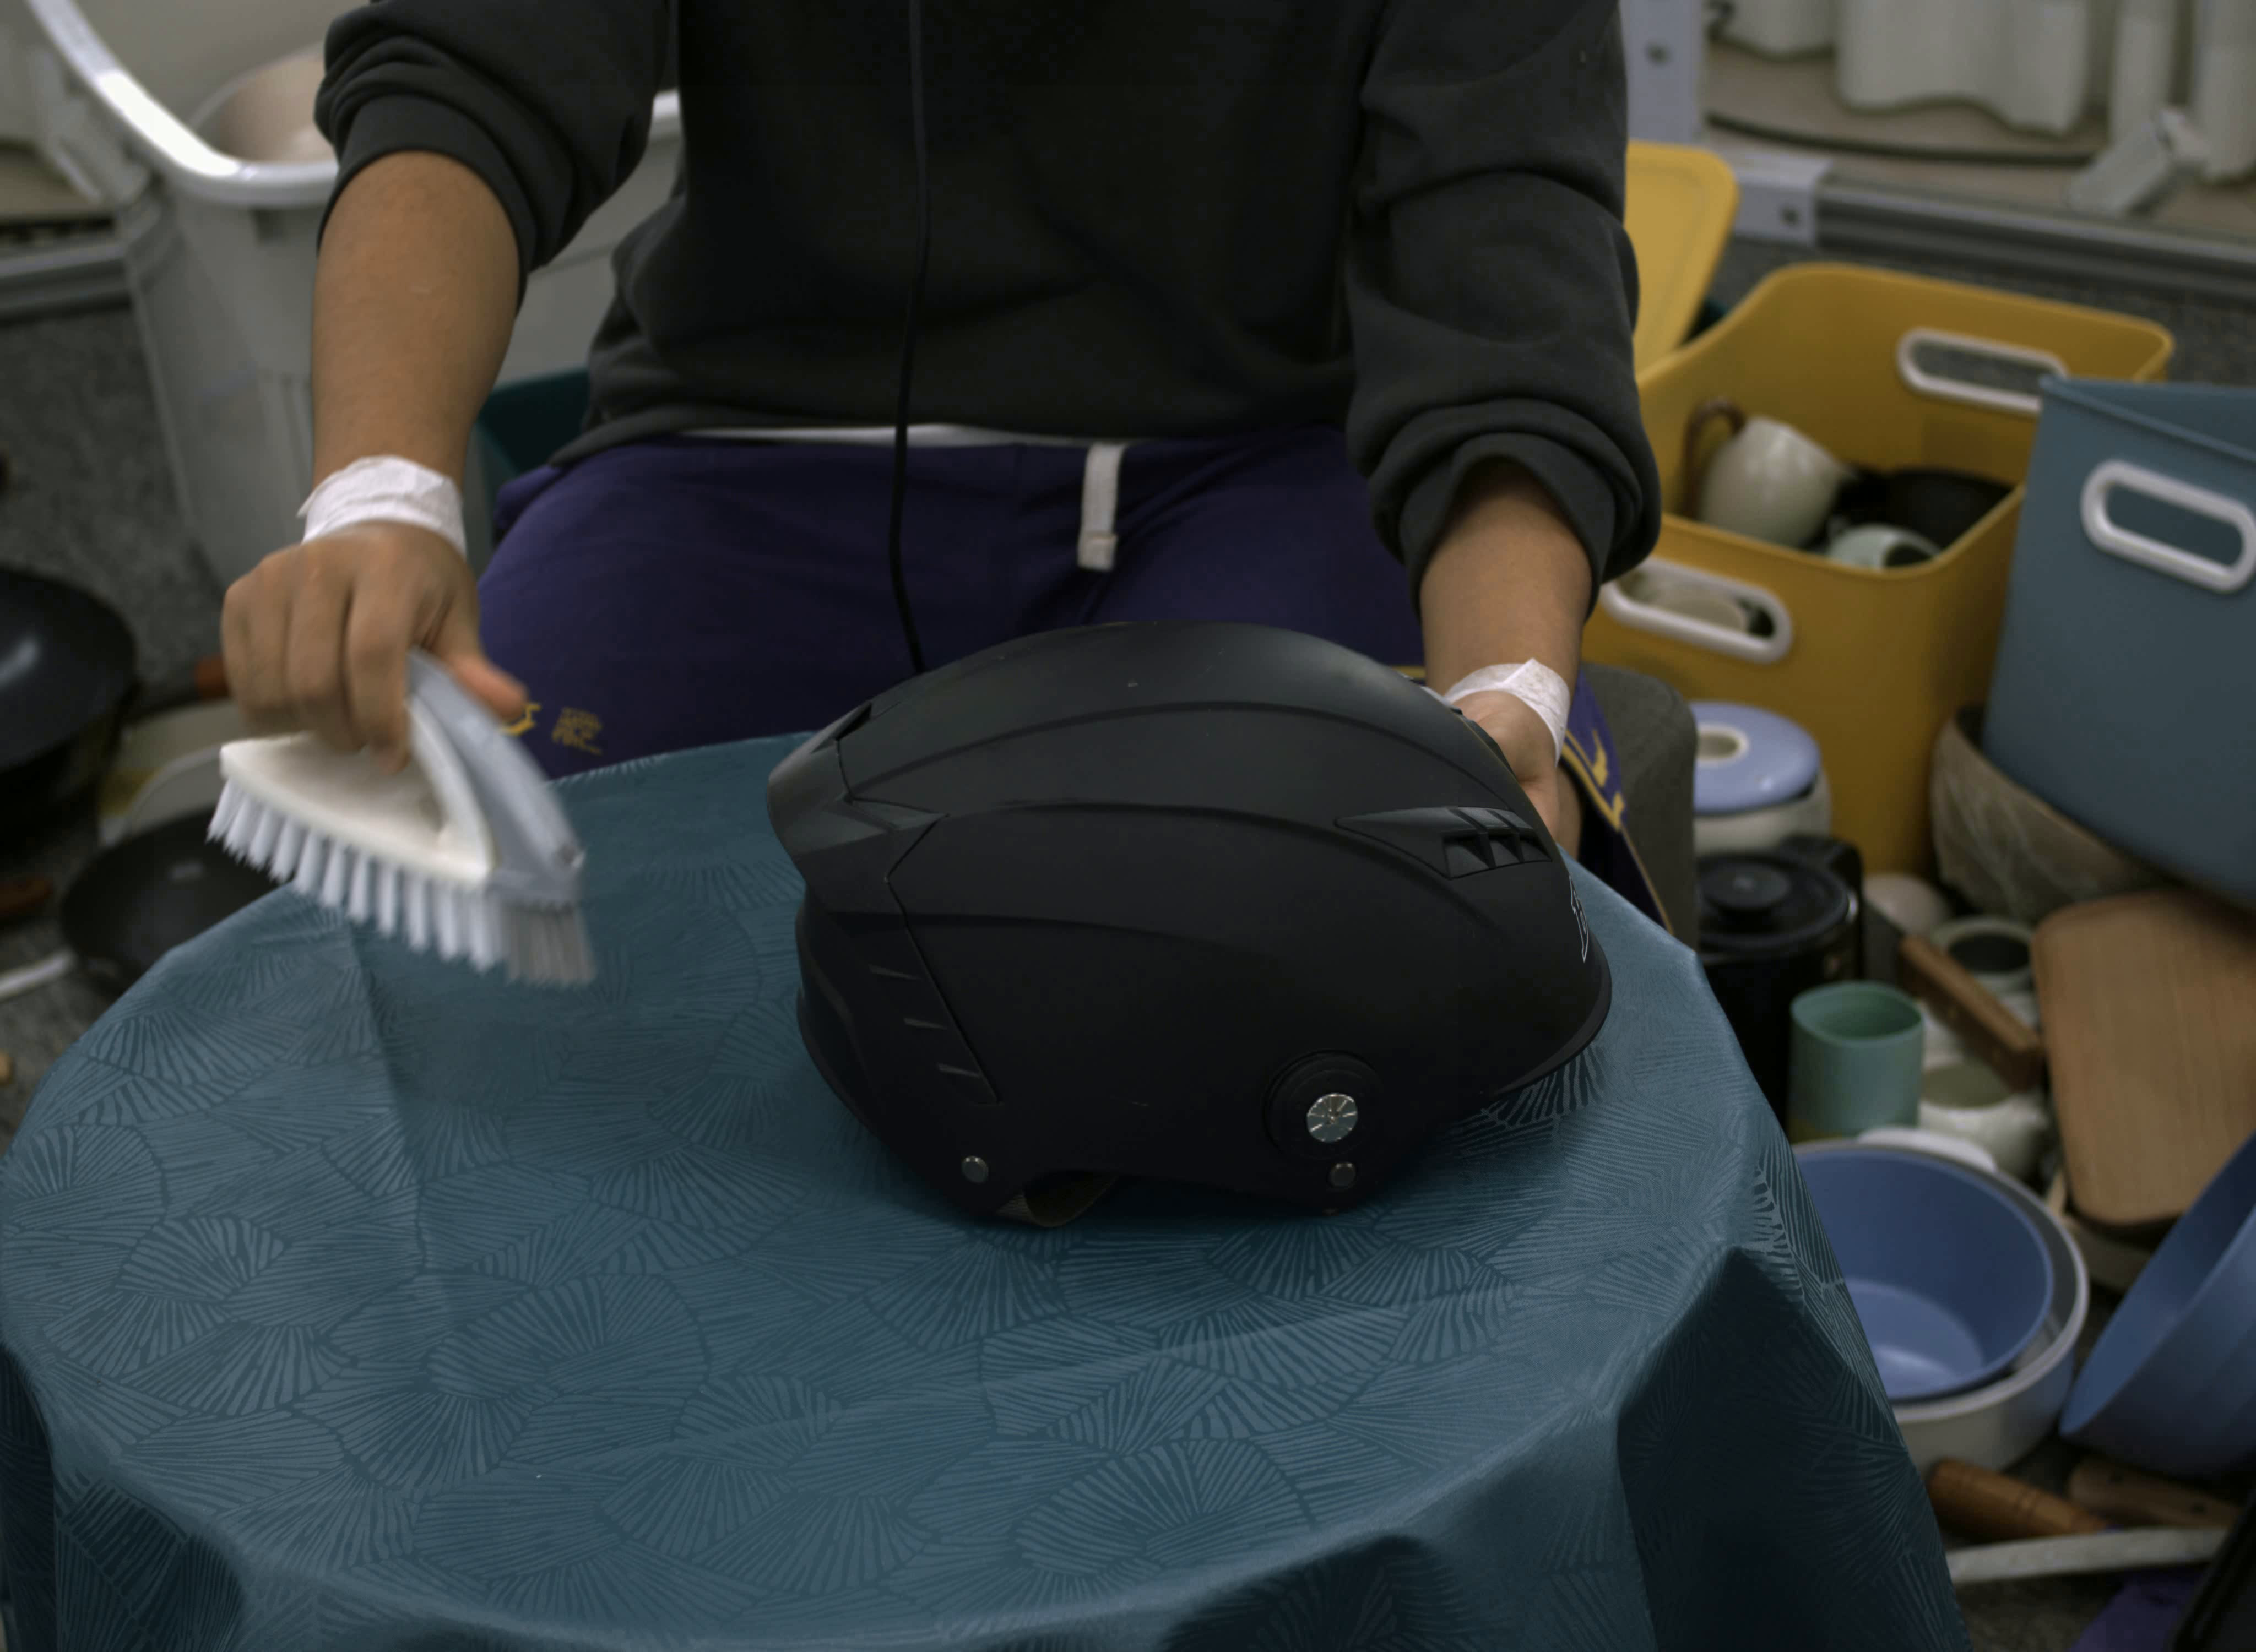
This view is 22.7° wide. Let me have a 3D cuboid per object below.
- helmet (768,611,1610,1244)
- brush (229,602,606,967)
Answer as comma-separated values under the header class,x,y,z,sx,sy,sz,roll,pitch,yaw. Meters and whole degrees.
class,x,y,z,sx,sy,sz,roll,pitch,yaw
helmet,0.019,0.015,1.895,0.276,0.170,0.250,-9,28,-2
brush,-0.238,-0.019,1.925,0.175,0.093,0.062,27,34,37
